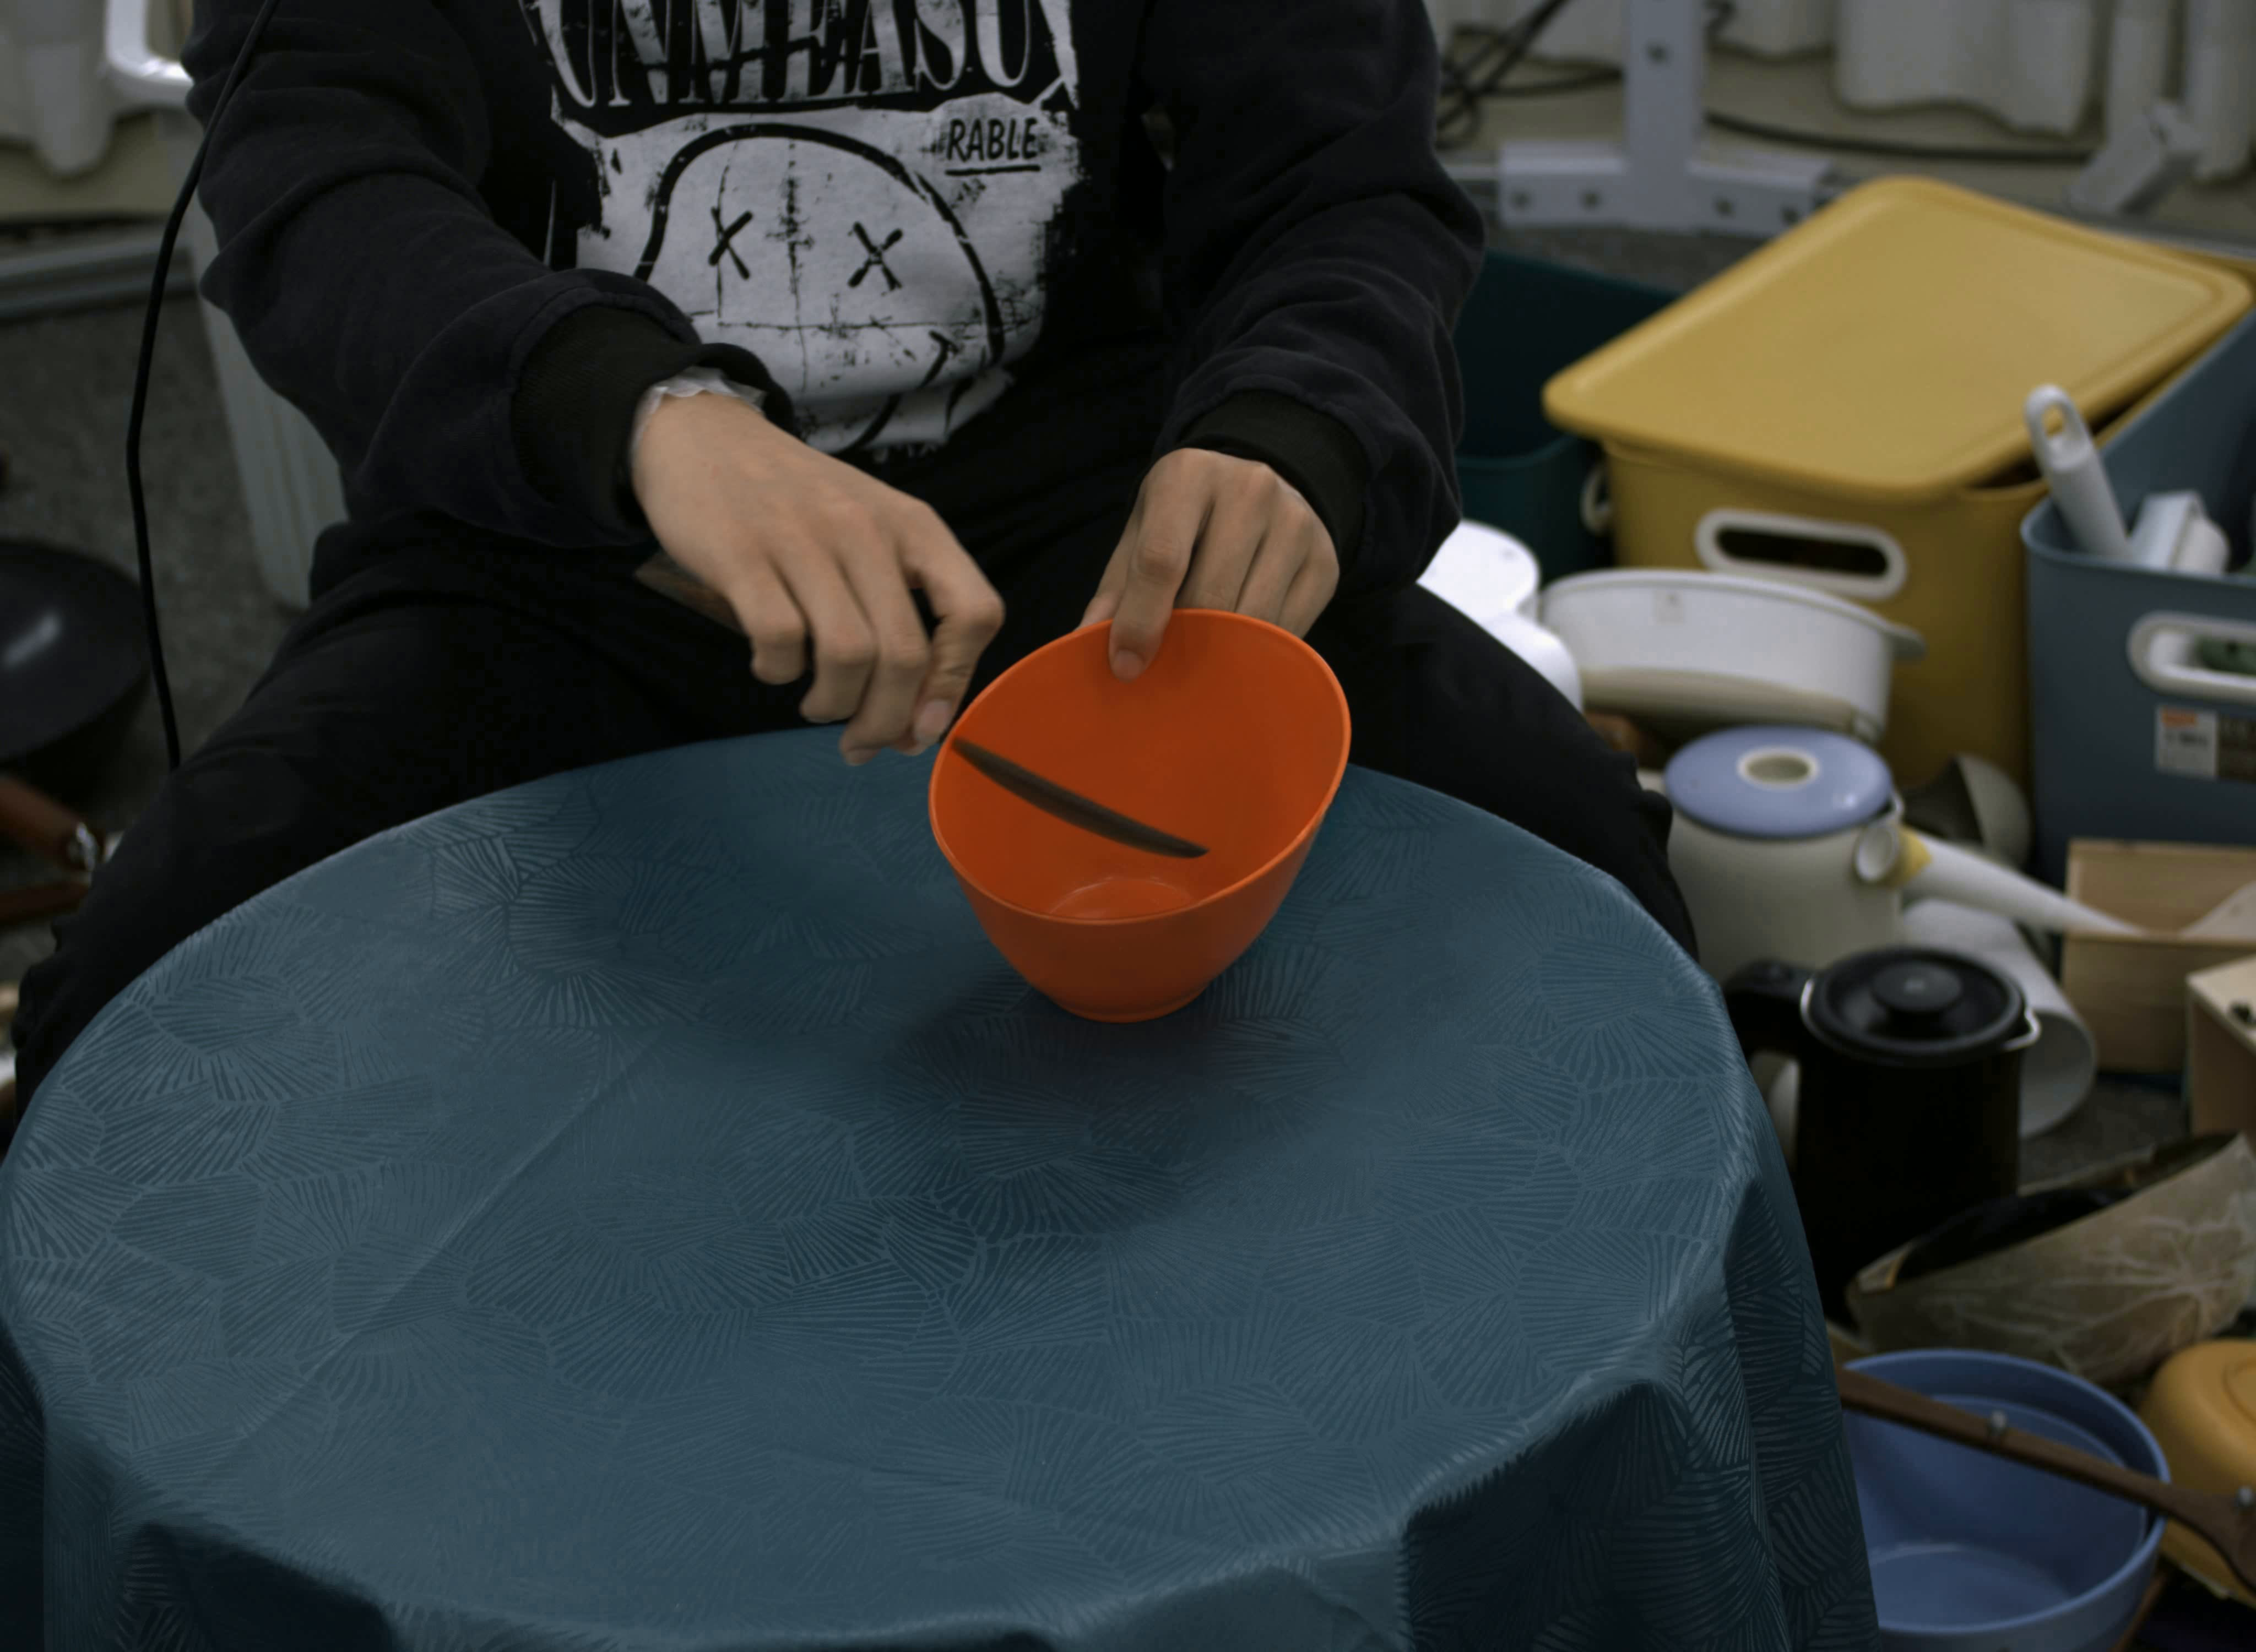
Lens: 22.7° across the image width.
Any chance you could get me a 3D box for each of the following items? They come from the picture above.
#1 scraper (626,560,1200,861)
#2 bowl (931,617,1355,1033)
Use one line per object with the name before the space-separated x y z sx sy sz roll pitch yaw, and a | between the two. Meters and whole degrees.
scraper | -0.073 -0.036 1.857 0.210 0.011 0.075 29 -6 -12
bowl | 0.007 0.010 1.954 0.147 0.103 0.151 -2 42 2
